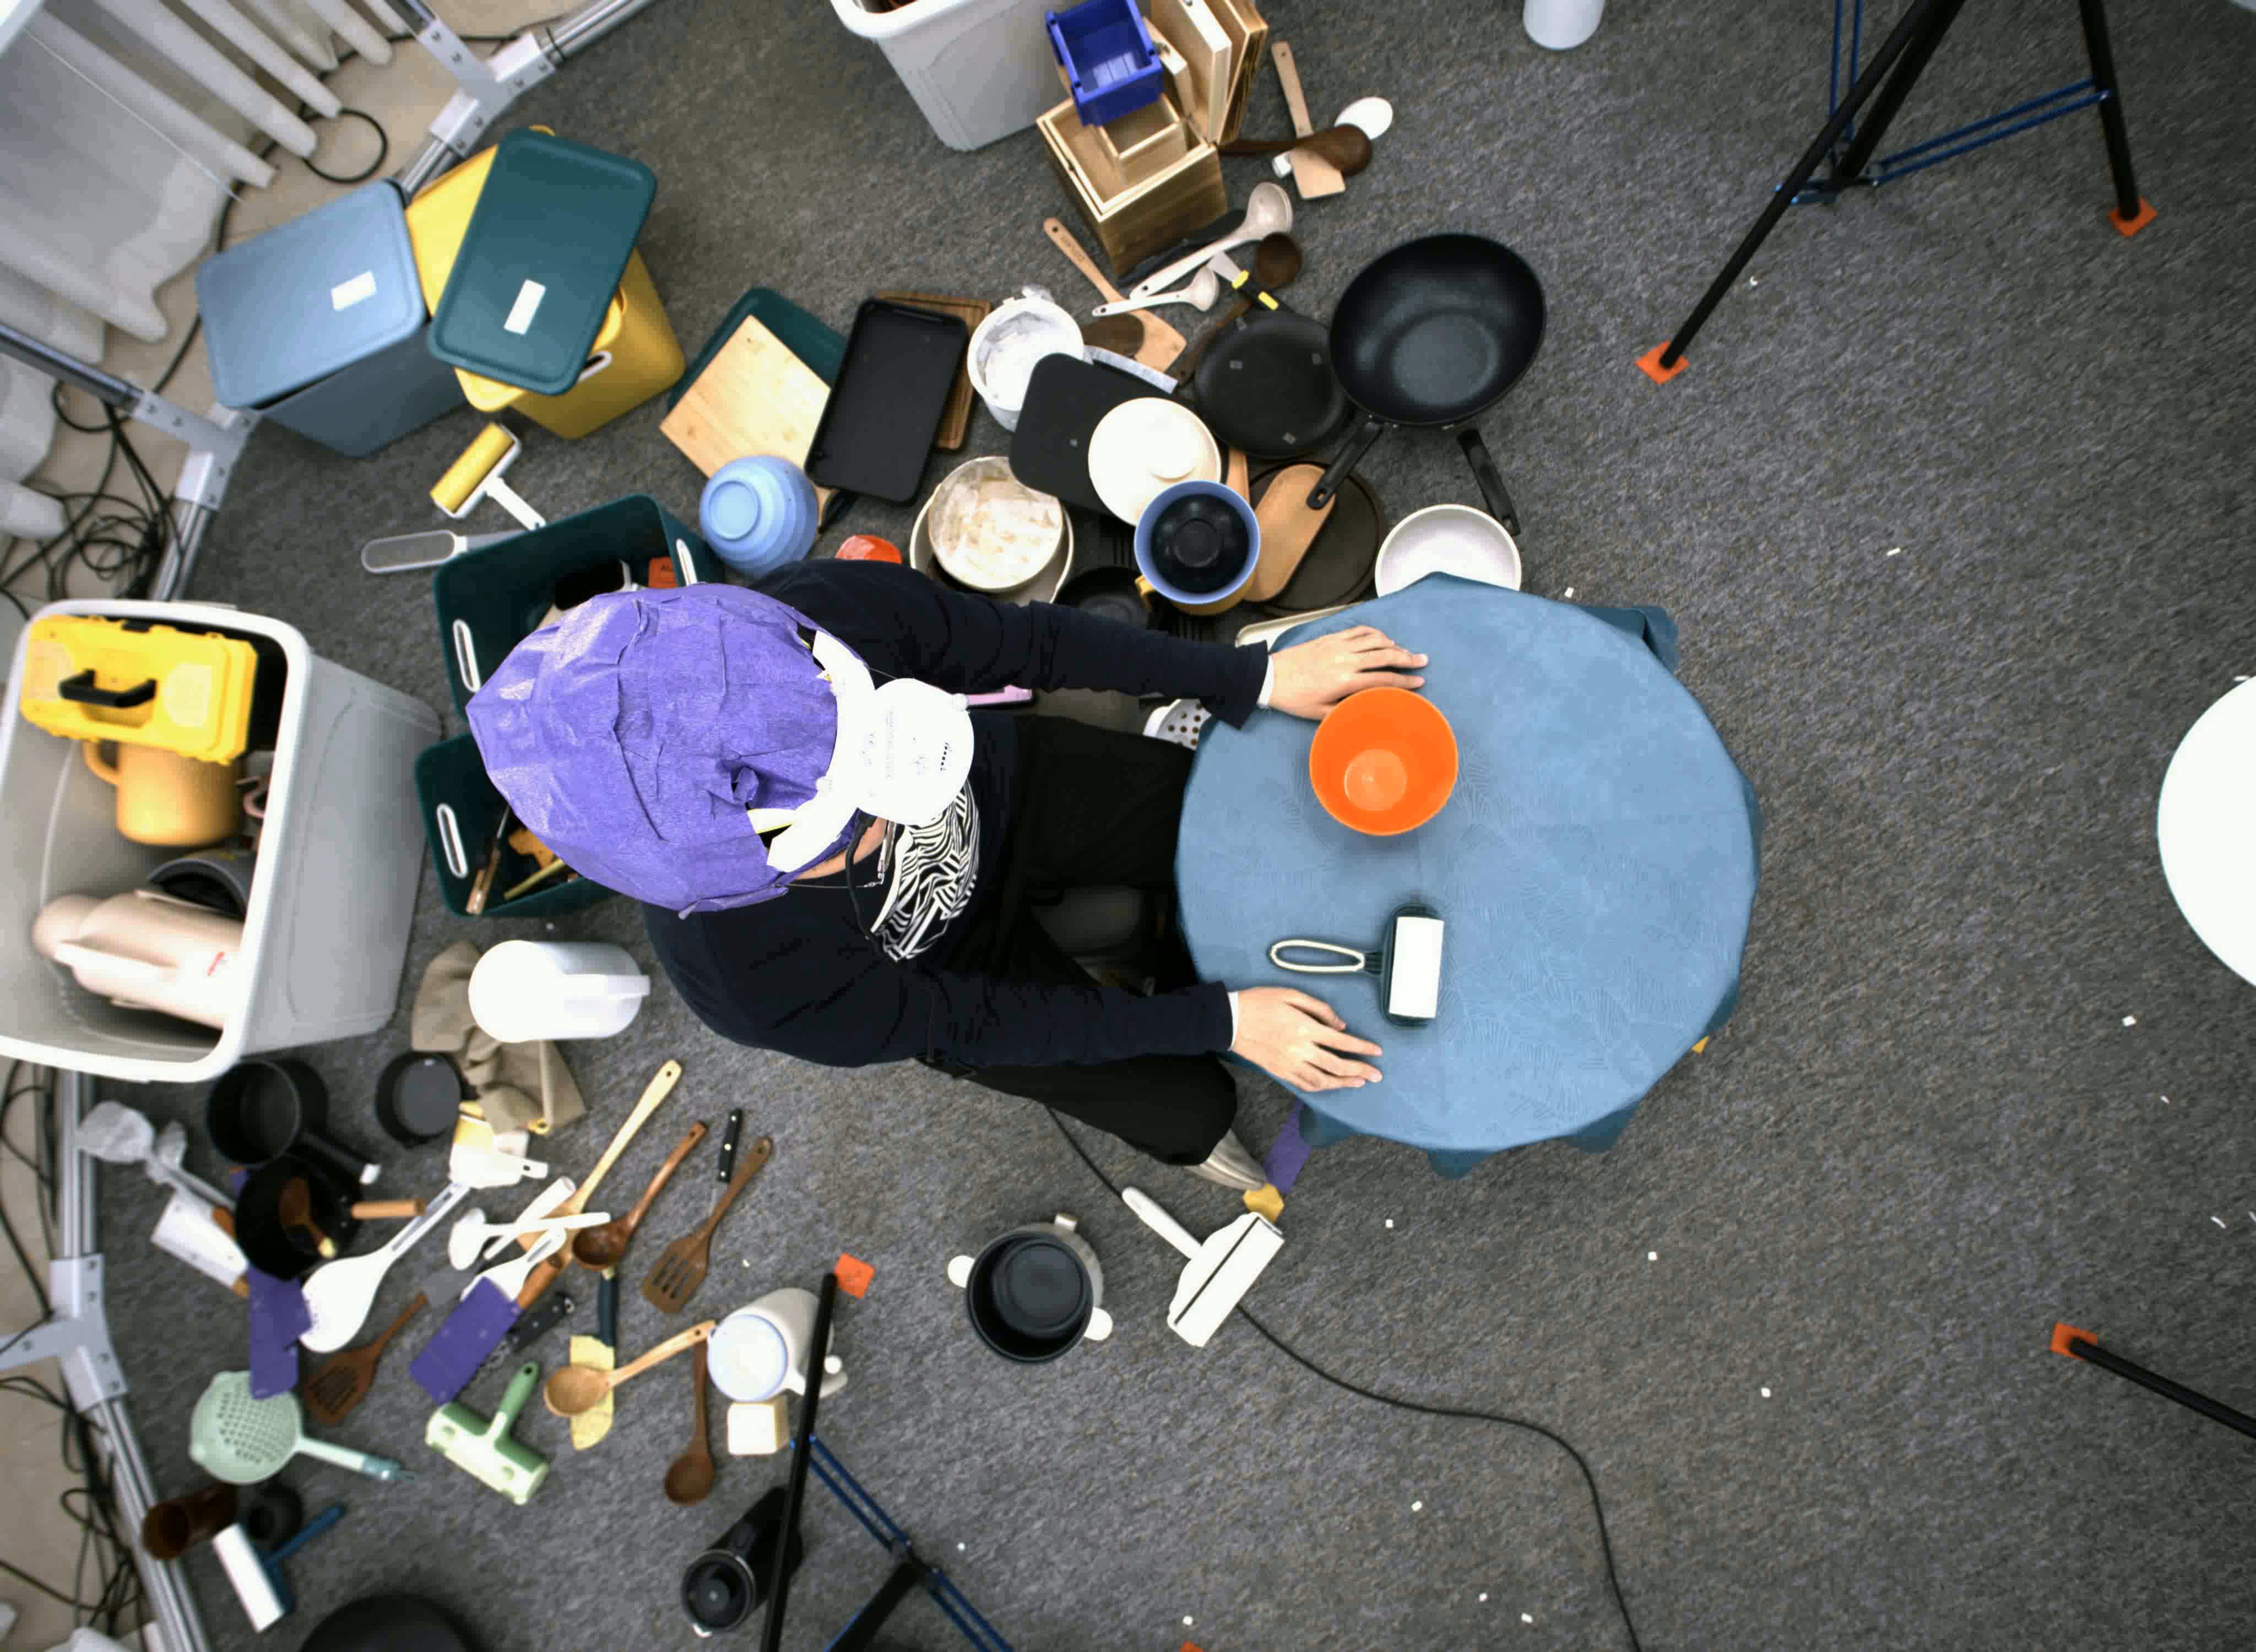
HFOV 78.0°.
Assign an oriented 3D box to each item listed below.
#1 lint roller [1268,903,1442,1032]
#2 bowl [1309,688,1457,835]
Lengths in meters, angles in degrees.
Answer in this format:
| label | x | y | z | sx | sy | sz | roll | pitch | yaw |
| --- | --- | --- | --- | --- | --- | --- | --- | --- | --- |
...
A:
| label | x | y | z | sx | sy | sz | roll | pitch | yaw |
| --- | --- | --- | --- | --- | --- | --- | --- | --- | --- |
| lint roller | 0.233 | 0.140 | 1.443 | 0.181 | 0.048 | 0.134 | 4 | 87 | 14 |
| bowl | 0.264 | -0.061 | 1.419 | 0.149 | 0.104 | 0.147 | -1 | 86 | 13 |
